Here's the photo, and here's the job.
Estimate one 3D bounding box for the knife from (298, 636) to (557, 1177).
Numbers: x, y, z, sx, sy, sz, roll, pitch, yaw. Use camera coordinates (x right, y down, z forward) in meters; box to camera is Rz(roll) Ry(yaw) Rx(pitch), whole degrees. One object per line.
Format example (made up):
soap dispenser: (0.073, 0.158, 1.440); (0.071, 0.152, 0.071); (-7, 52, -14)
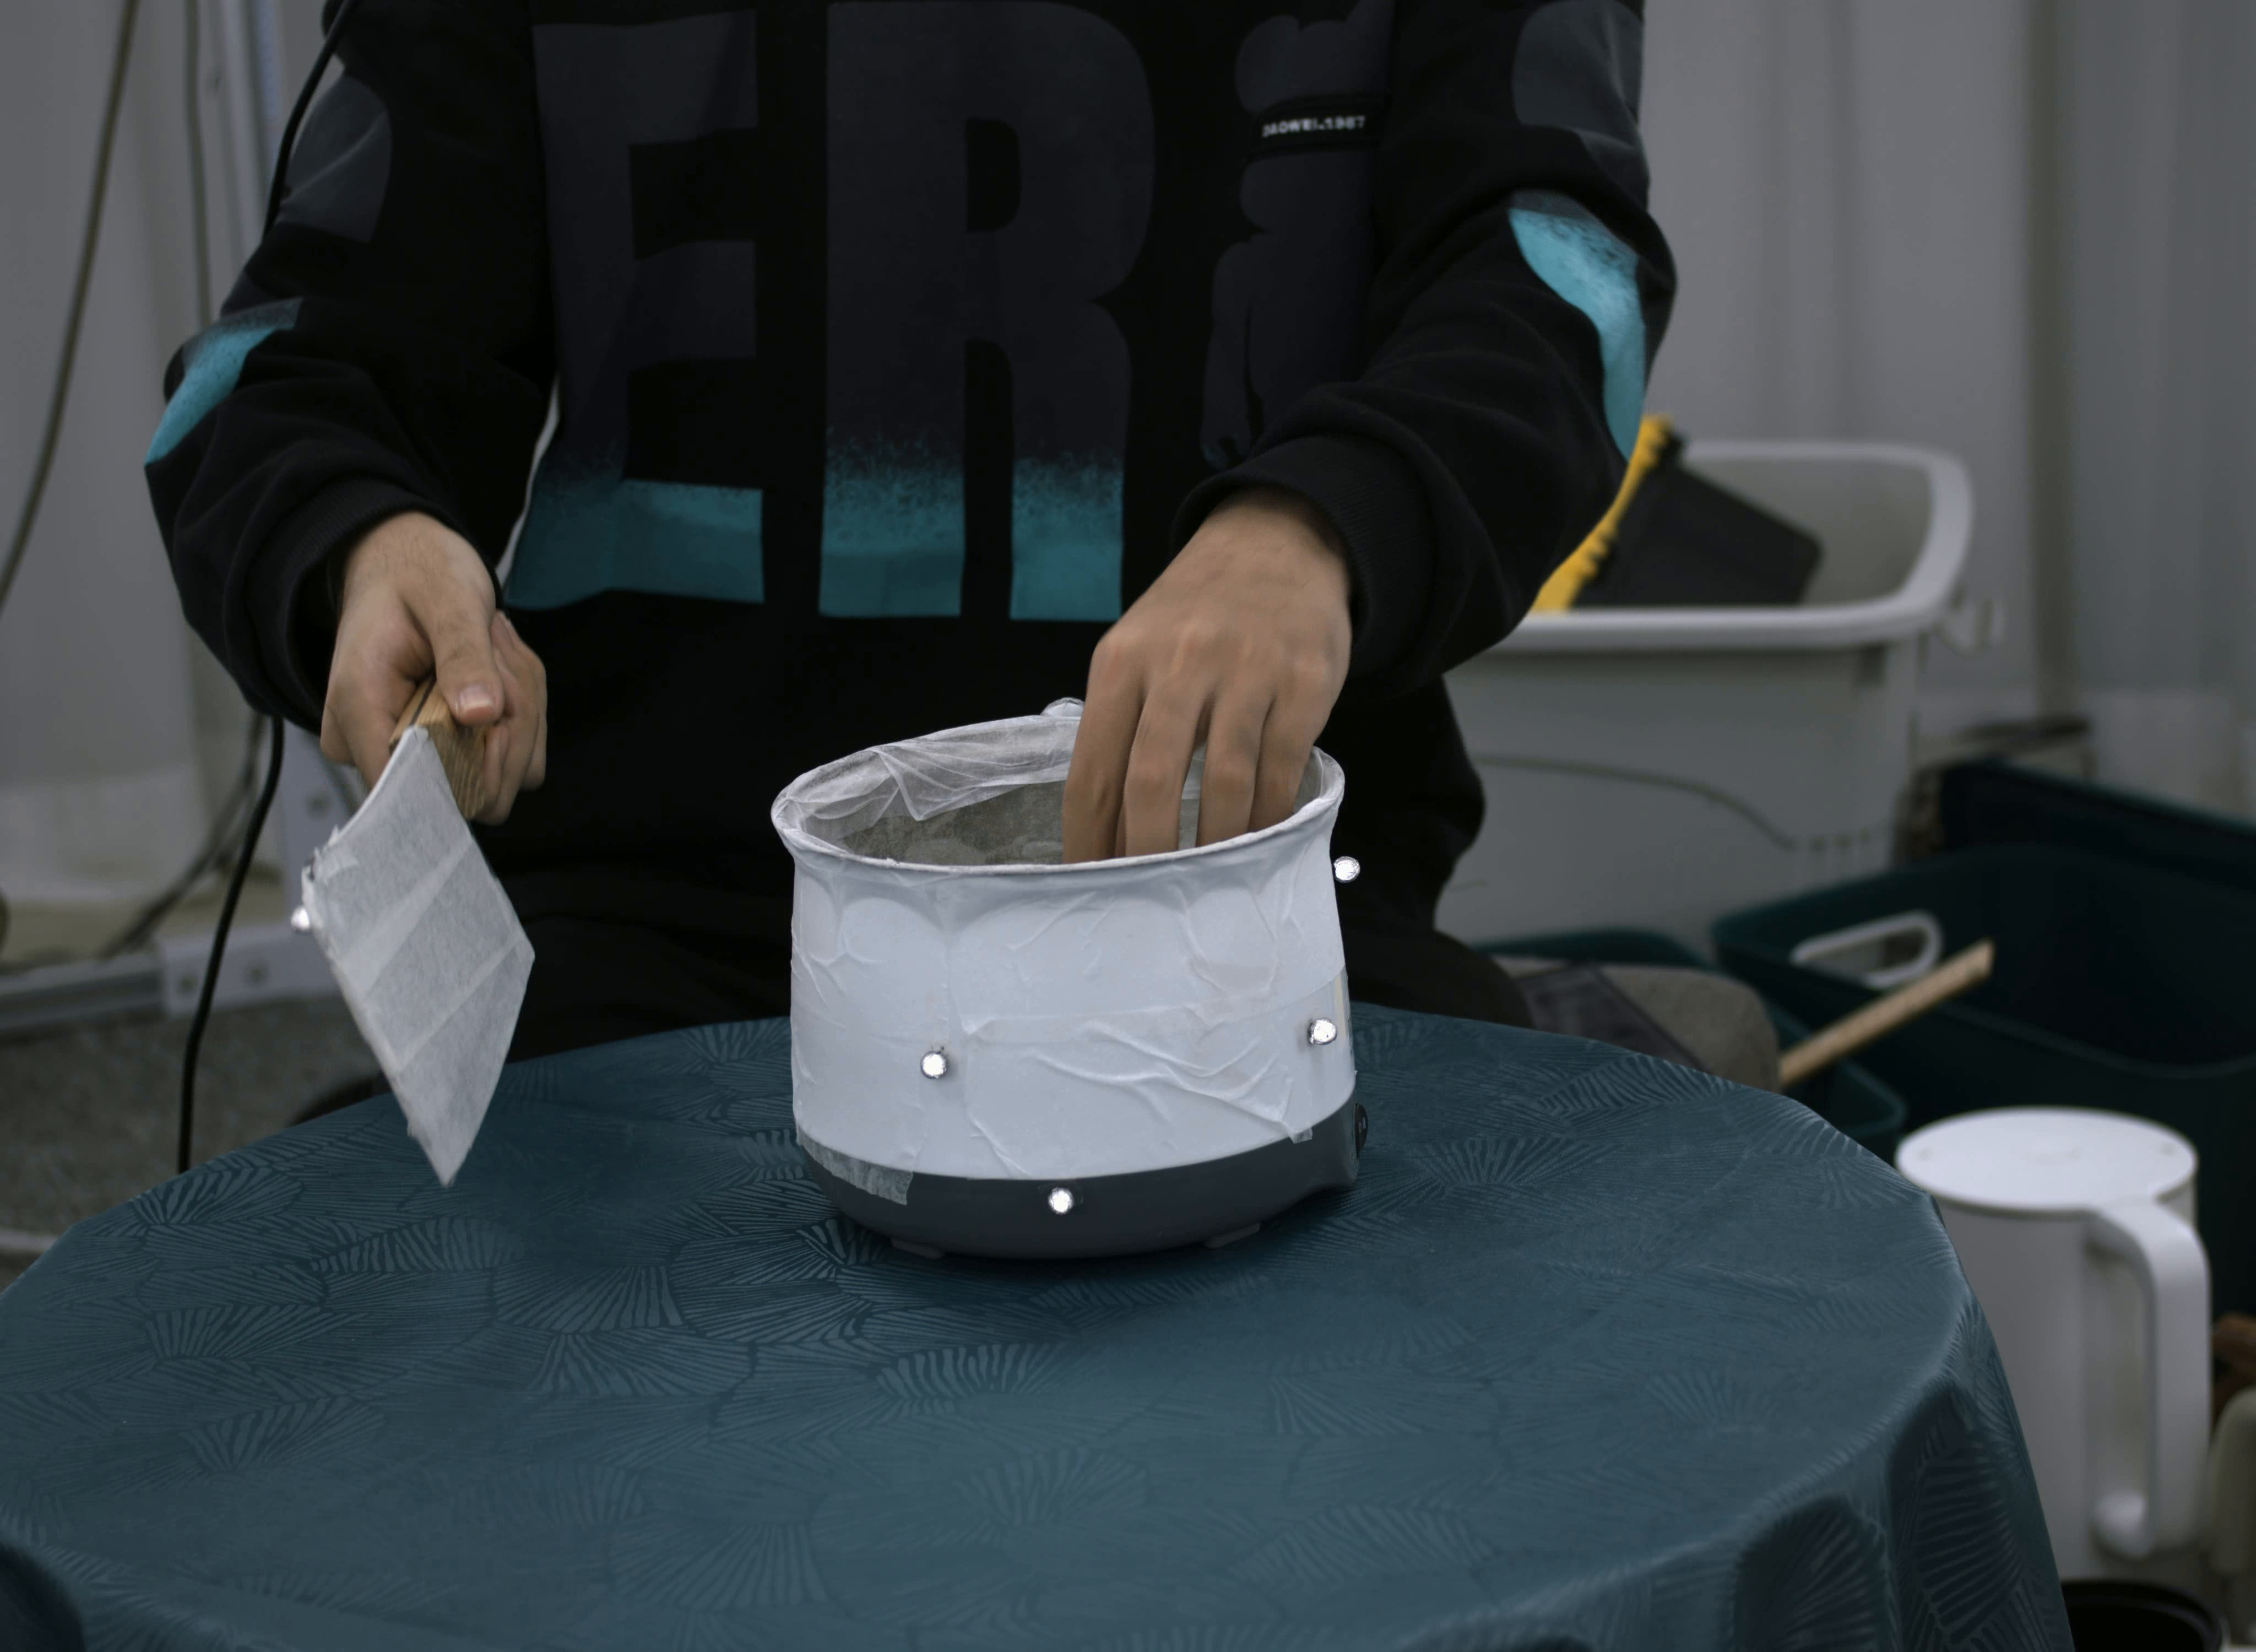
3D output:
knife: (-0.210, 0.008, 1.689); (0.021, 0.113, 0.318); (-23, 20, 10)

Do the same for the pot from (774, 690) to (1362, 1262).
pot: (-0.018, 0.042, 1.723); (0.178, 0.136, 0.235); (-2, 16, 1)
